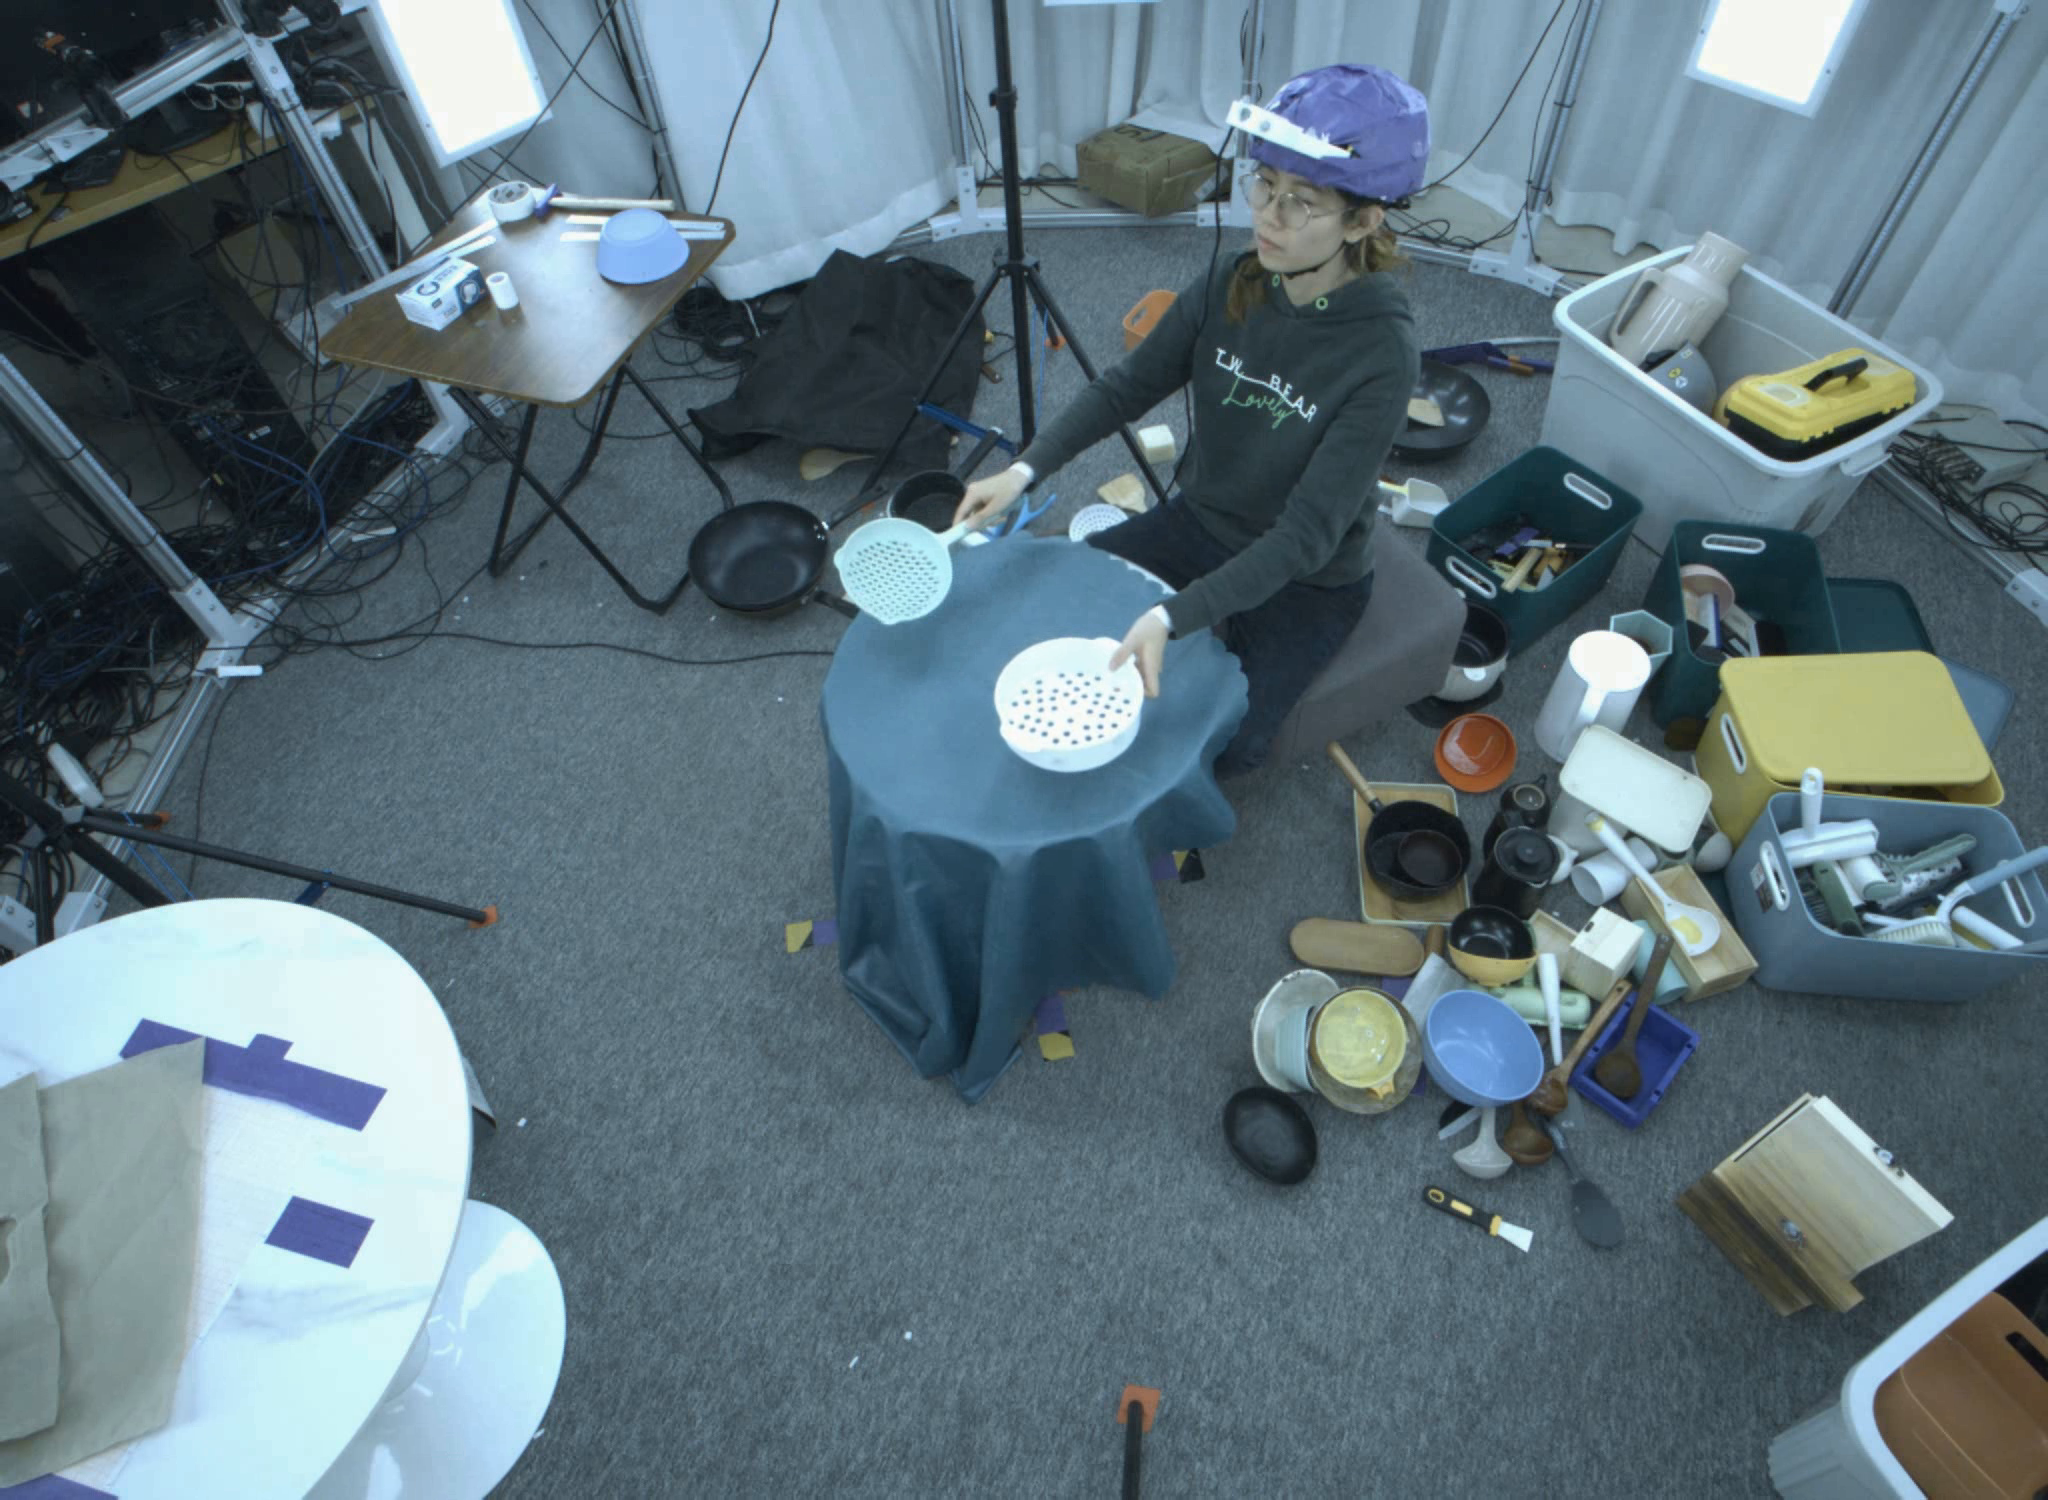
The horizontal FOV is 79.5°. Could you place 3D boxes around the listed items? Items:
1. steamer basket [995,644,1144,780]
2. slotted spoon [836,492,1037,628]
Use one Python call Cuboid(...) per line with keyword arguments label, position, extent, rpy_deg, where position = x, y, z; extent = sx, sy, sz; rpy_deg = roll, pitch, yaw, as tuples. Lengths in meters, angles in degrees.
Cuboid(label="steamer basket", position=(0.063, -0.050, 1.688), extent=(0.198, 0.070, 0.232), rpy_deg=(32, 60, 23))
Cuboid(label="slotted spoon", position=(-0.119, -0.315, 1.872), extent=(0.361, 0.075, 0.169), rpy_deg=(-36, 87, -16))
